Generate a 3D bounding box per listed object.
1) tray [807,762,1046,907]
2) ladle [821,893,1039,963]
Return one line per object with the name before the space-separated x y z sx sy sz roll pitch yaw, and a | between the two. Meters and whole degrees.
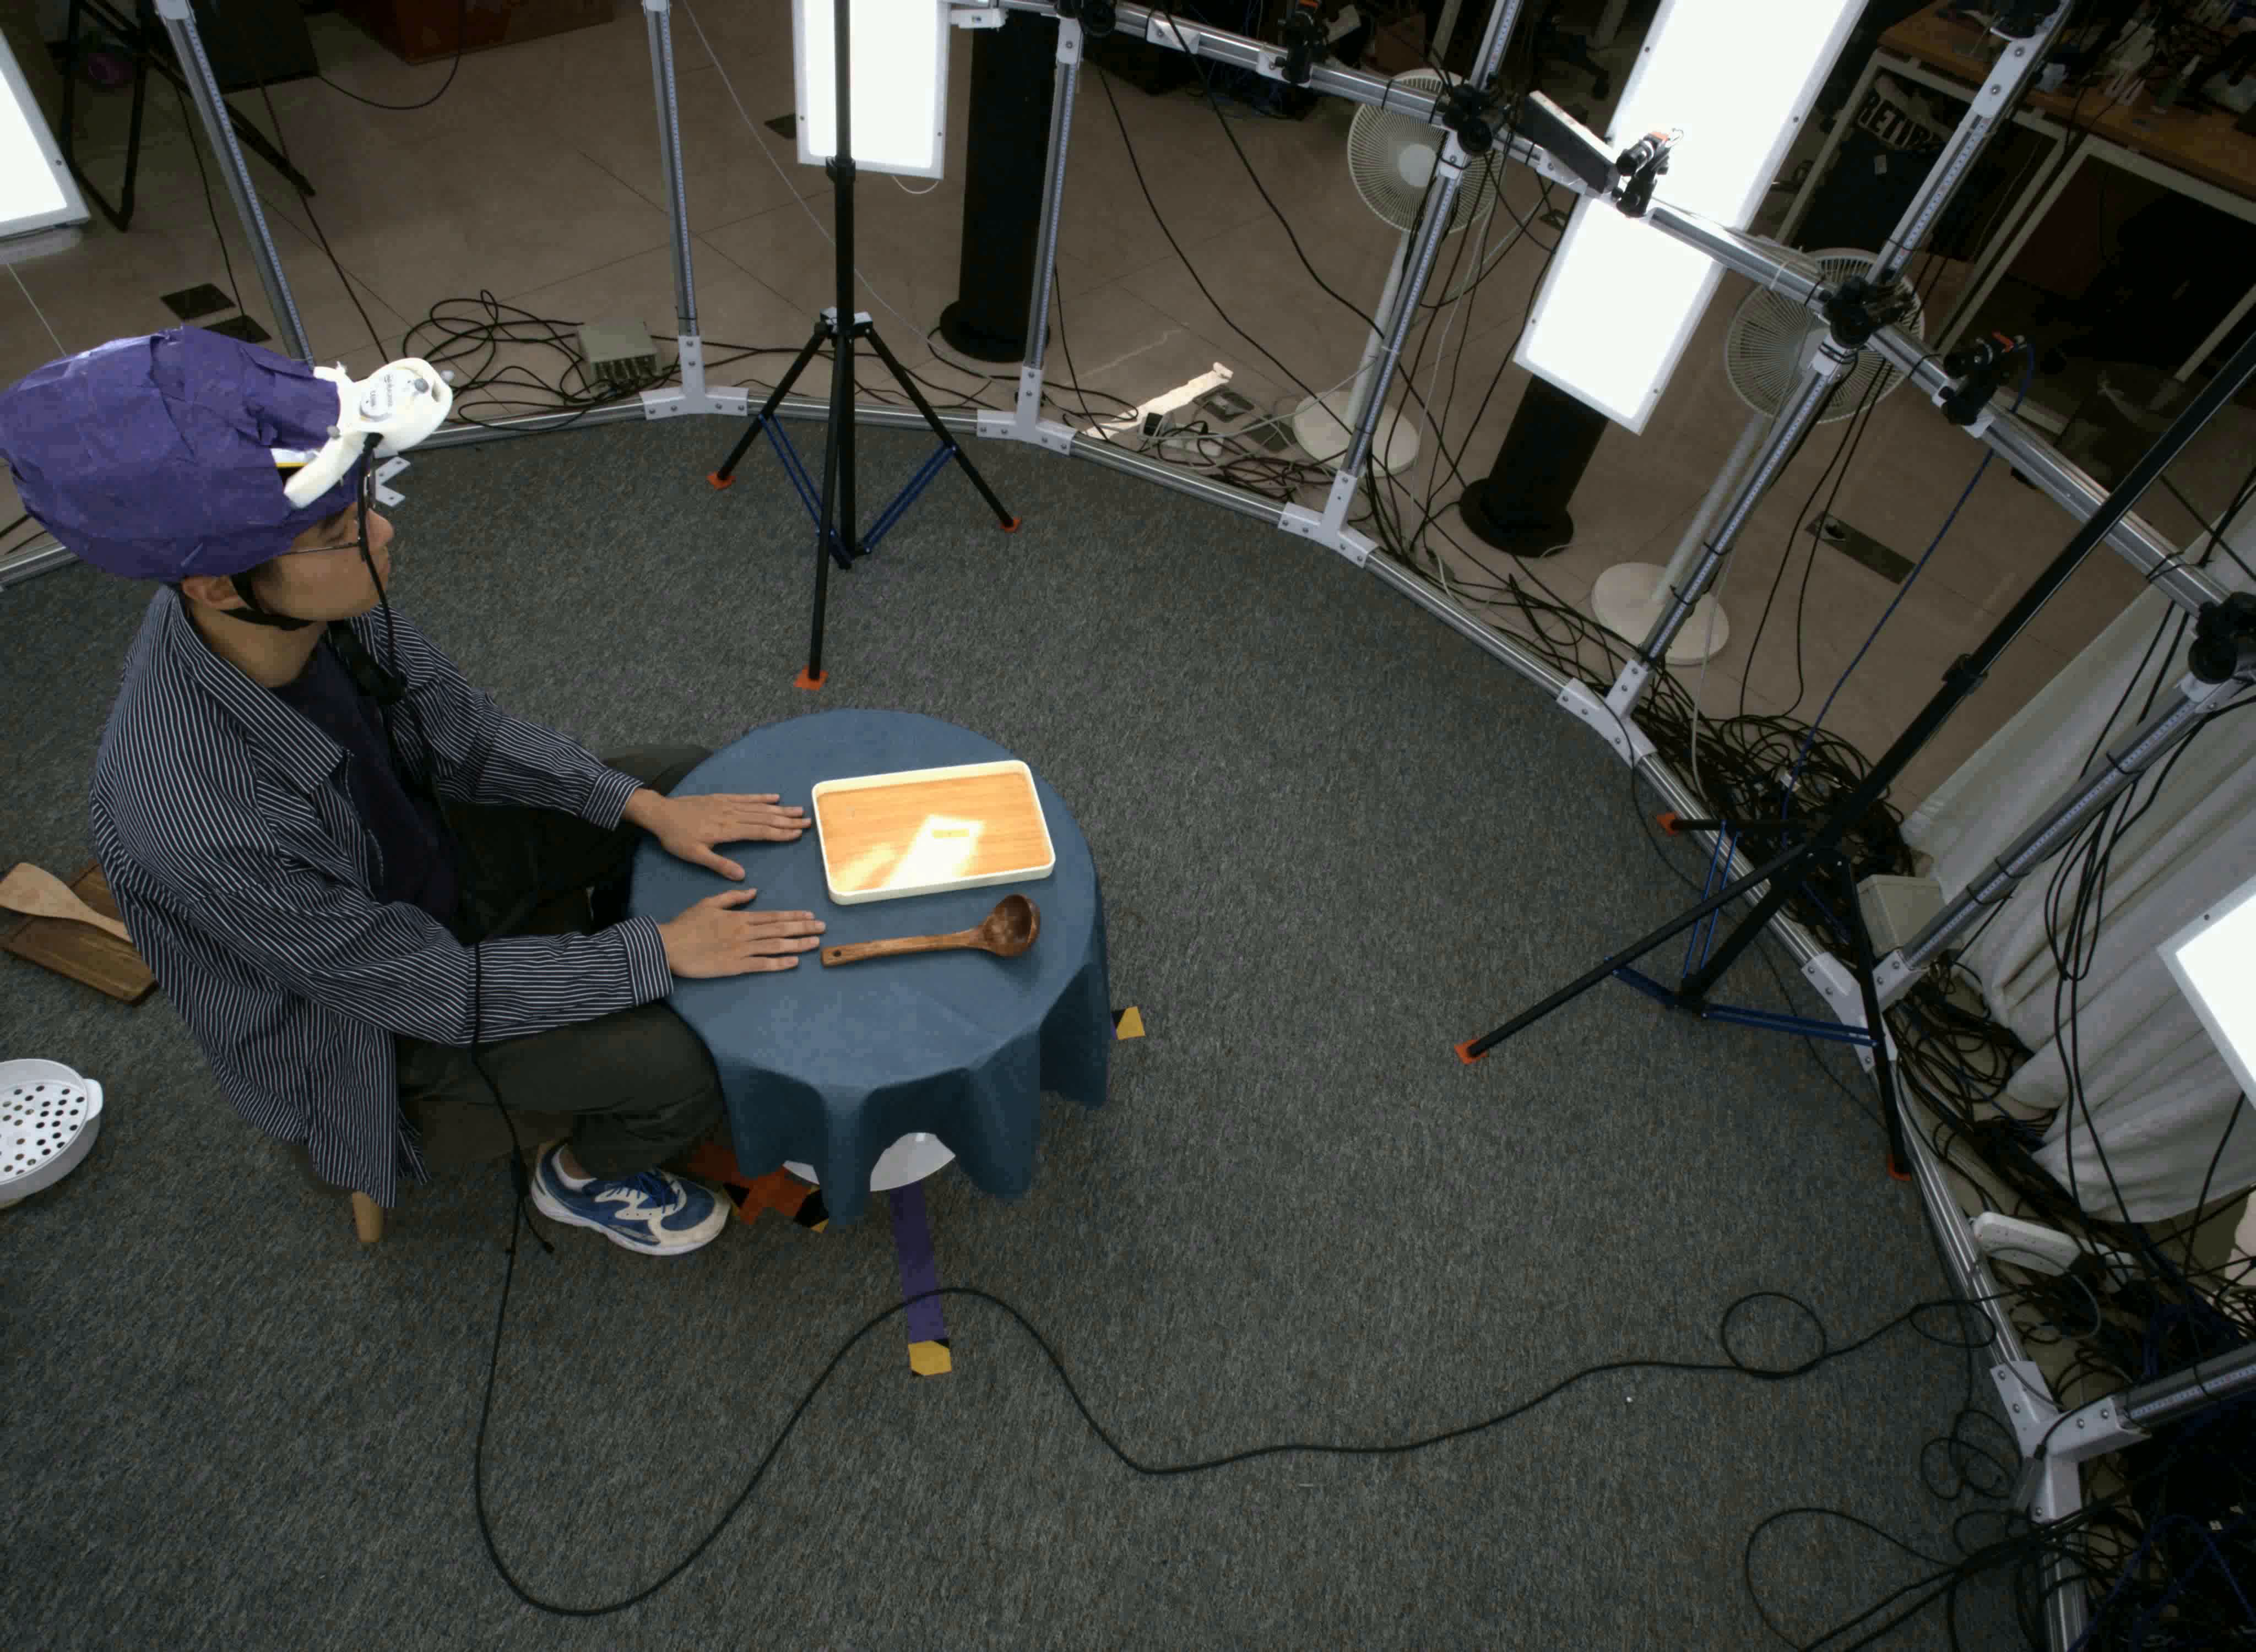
tray | -0.272 0.007 1.756 0.301 0.028 0.187 -7 56 -17
ladle | -0.247 0.135 1.634 0.275 0.078 0.080 -4 58 -16
